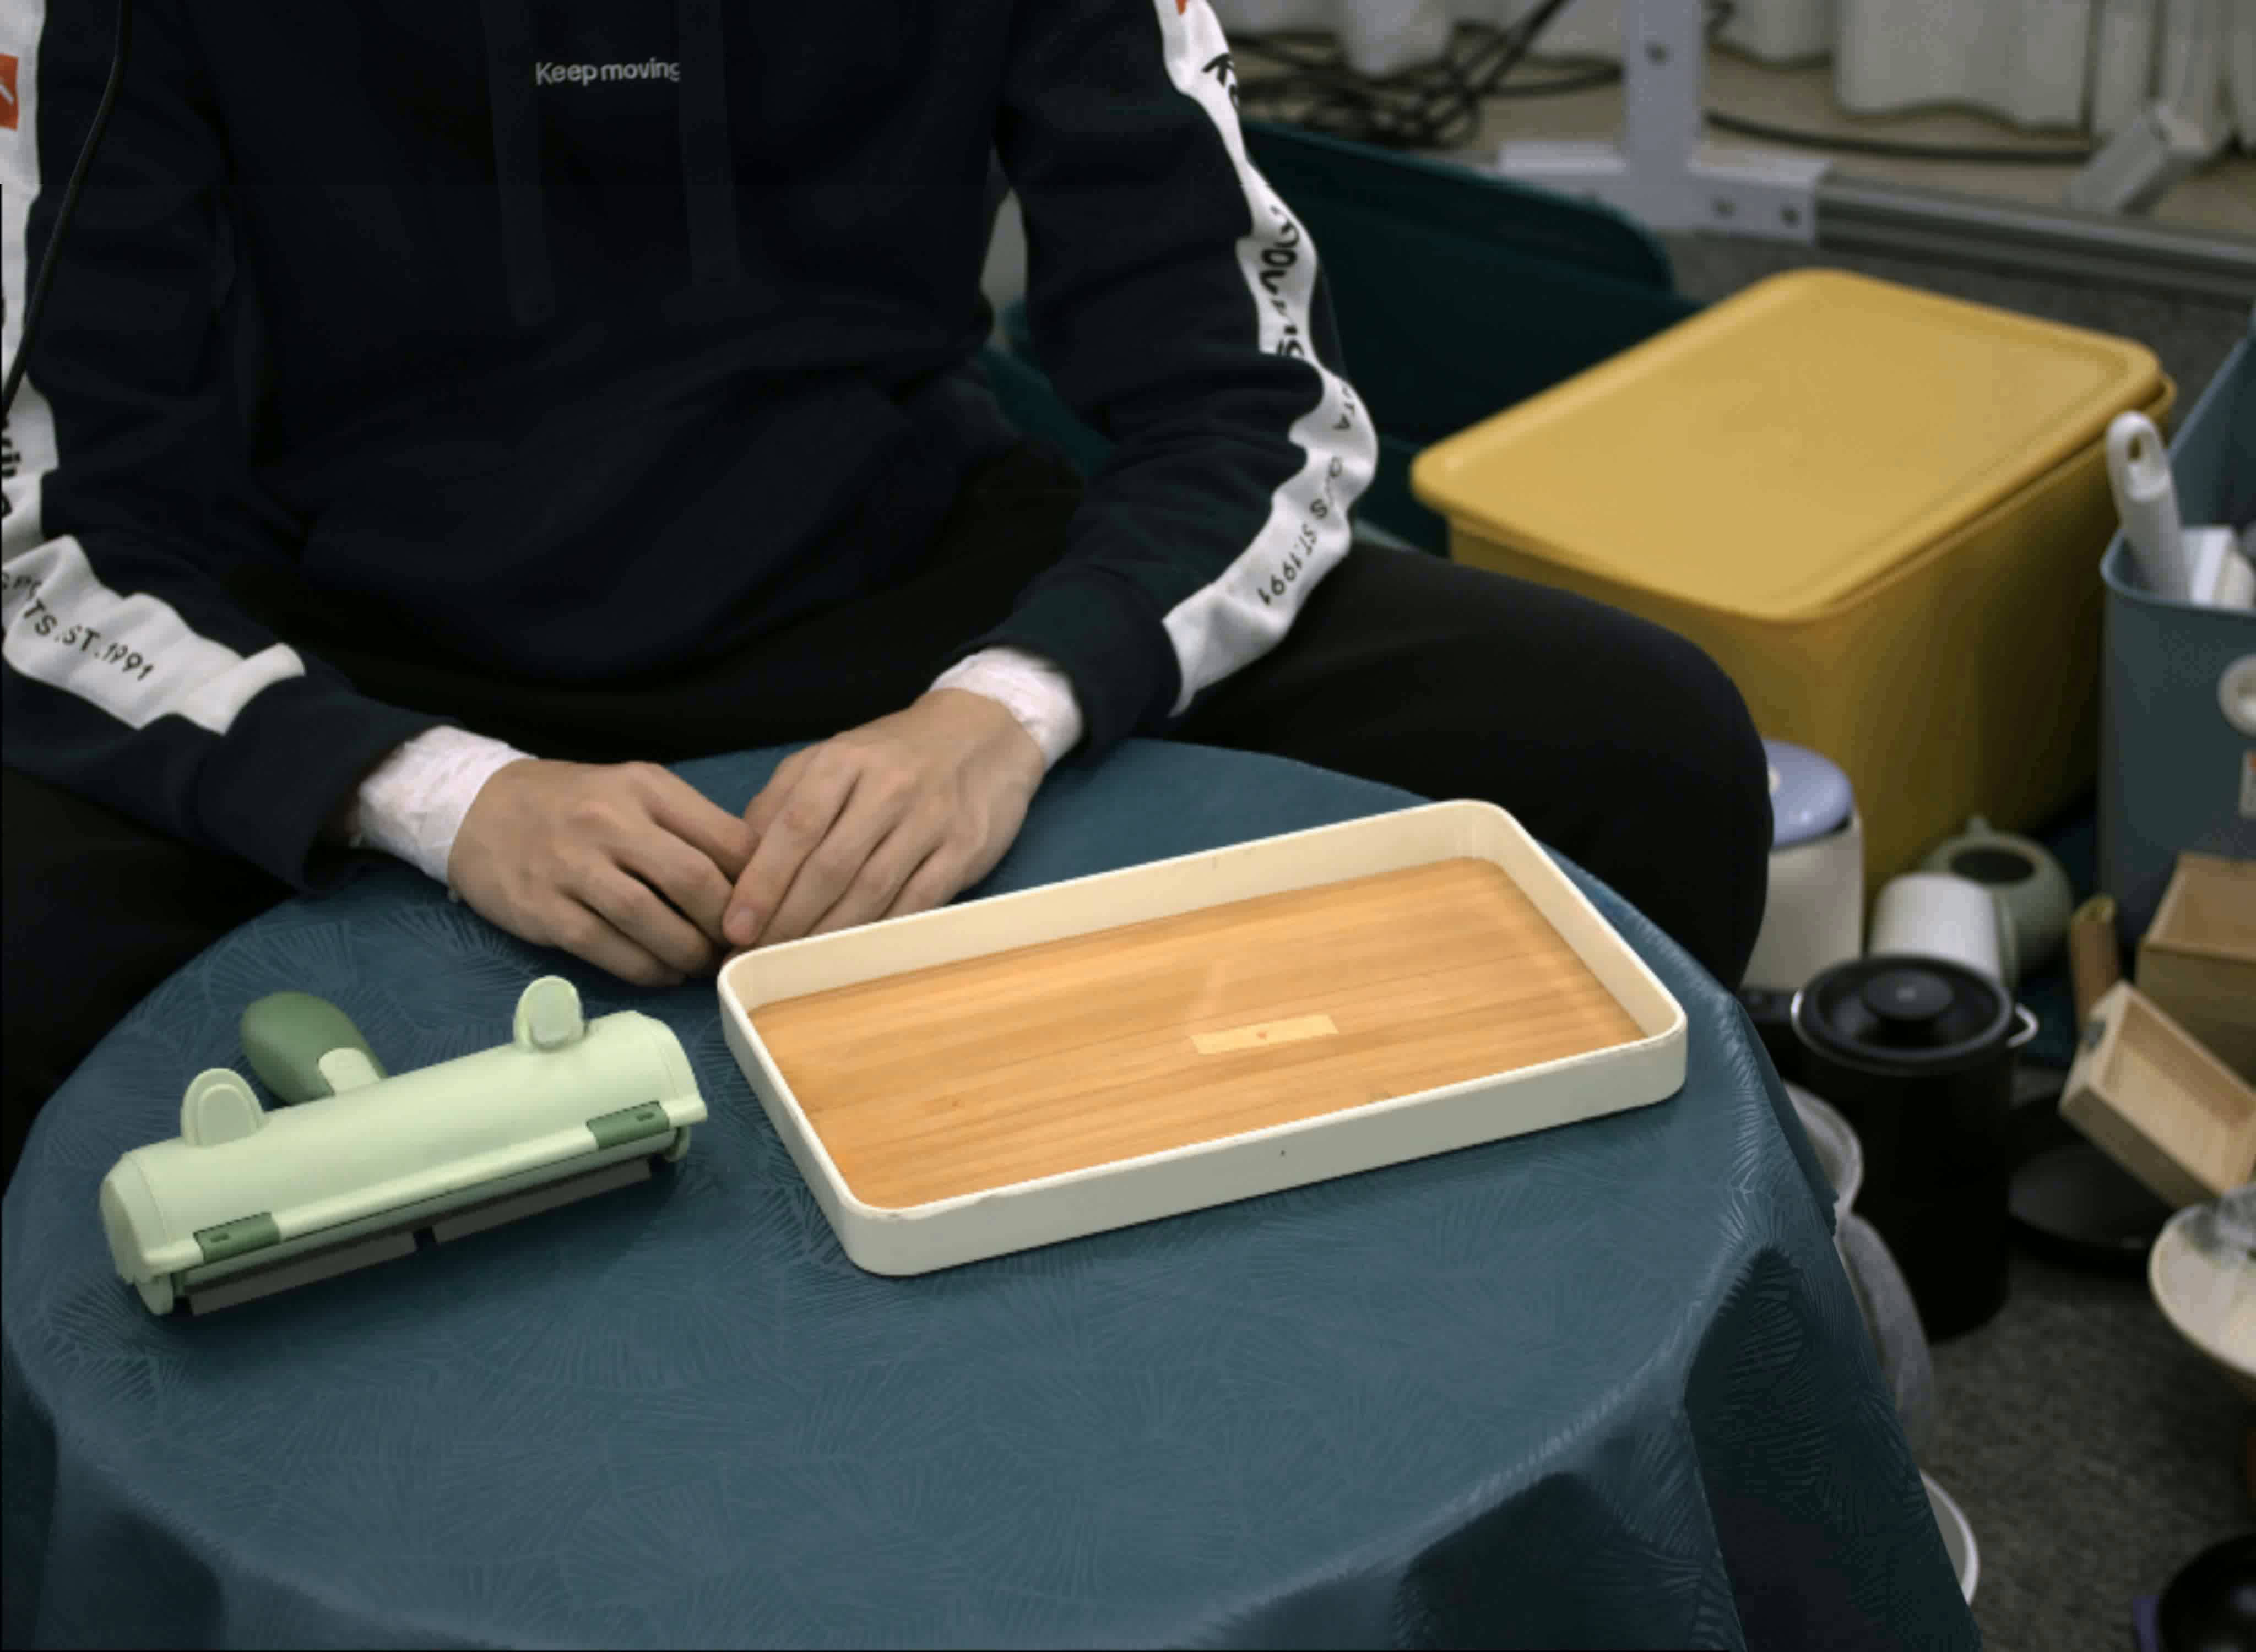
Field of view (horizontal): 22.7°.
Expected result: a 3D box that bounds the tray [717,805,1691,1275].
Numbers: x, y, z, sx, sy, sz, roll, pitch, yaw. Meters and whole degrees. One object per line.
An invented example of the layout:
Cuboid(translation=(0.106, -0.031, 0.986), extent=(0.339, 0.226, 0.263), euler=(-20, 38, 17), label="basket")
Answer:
Cuboid(translation=(0.024, 0.070, 1.929), extent=(0.301, 0.027, 0.193), euler=(-12, 28, -16), label="tray")

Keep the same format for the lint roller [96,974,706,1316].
Cuboid(translation=(-0.263, 0.079, 1.886), extent=(0.199, 0.081, 0.184), euler=(-15, 34, -22), label="lint roller")
